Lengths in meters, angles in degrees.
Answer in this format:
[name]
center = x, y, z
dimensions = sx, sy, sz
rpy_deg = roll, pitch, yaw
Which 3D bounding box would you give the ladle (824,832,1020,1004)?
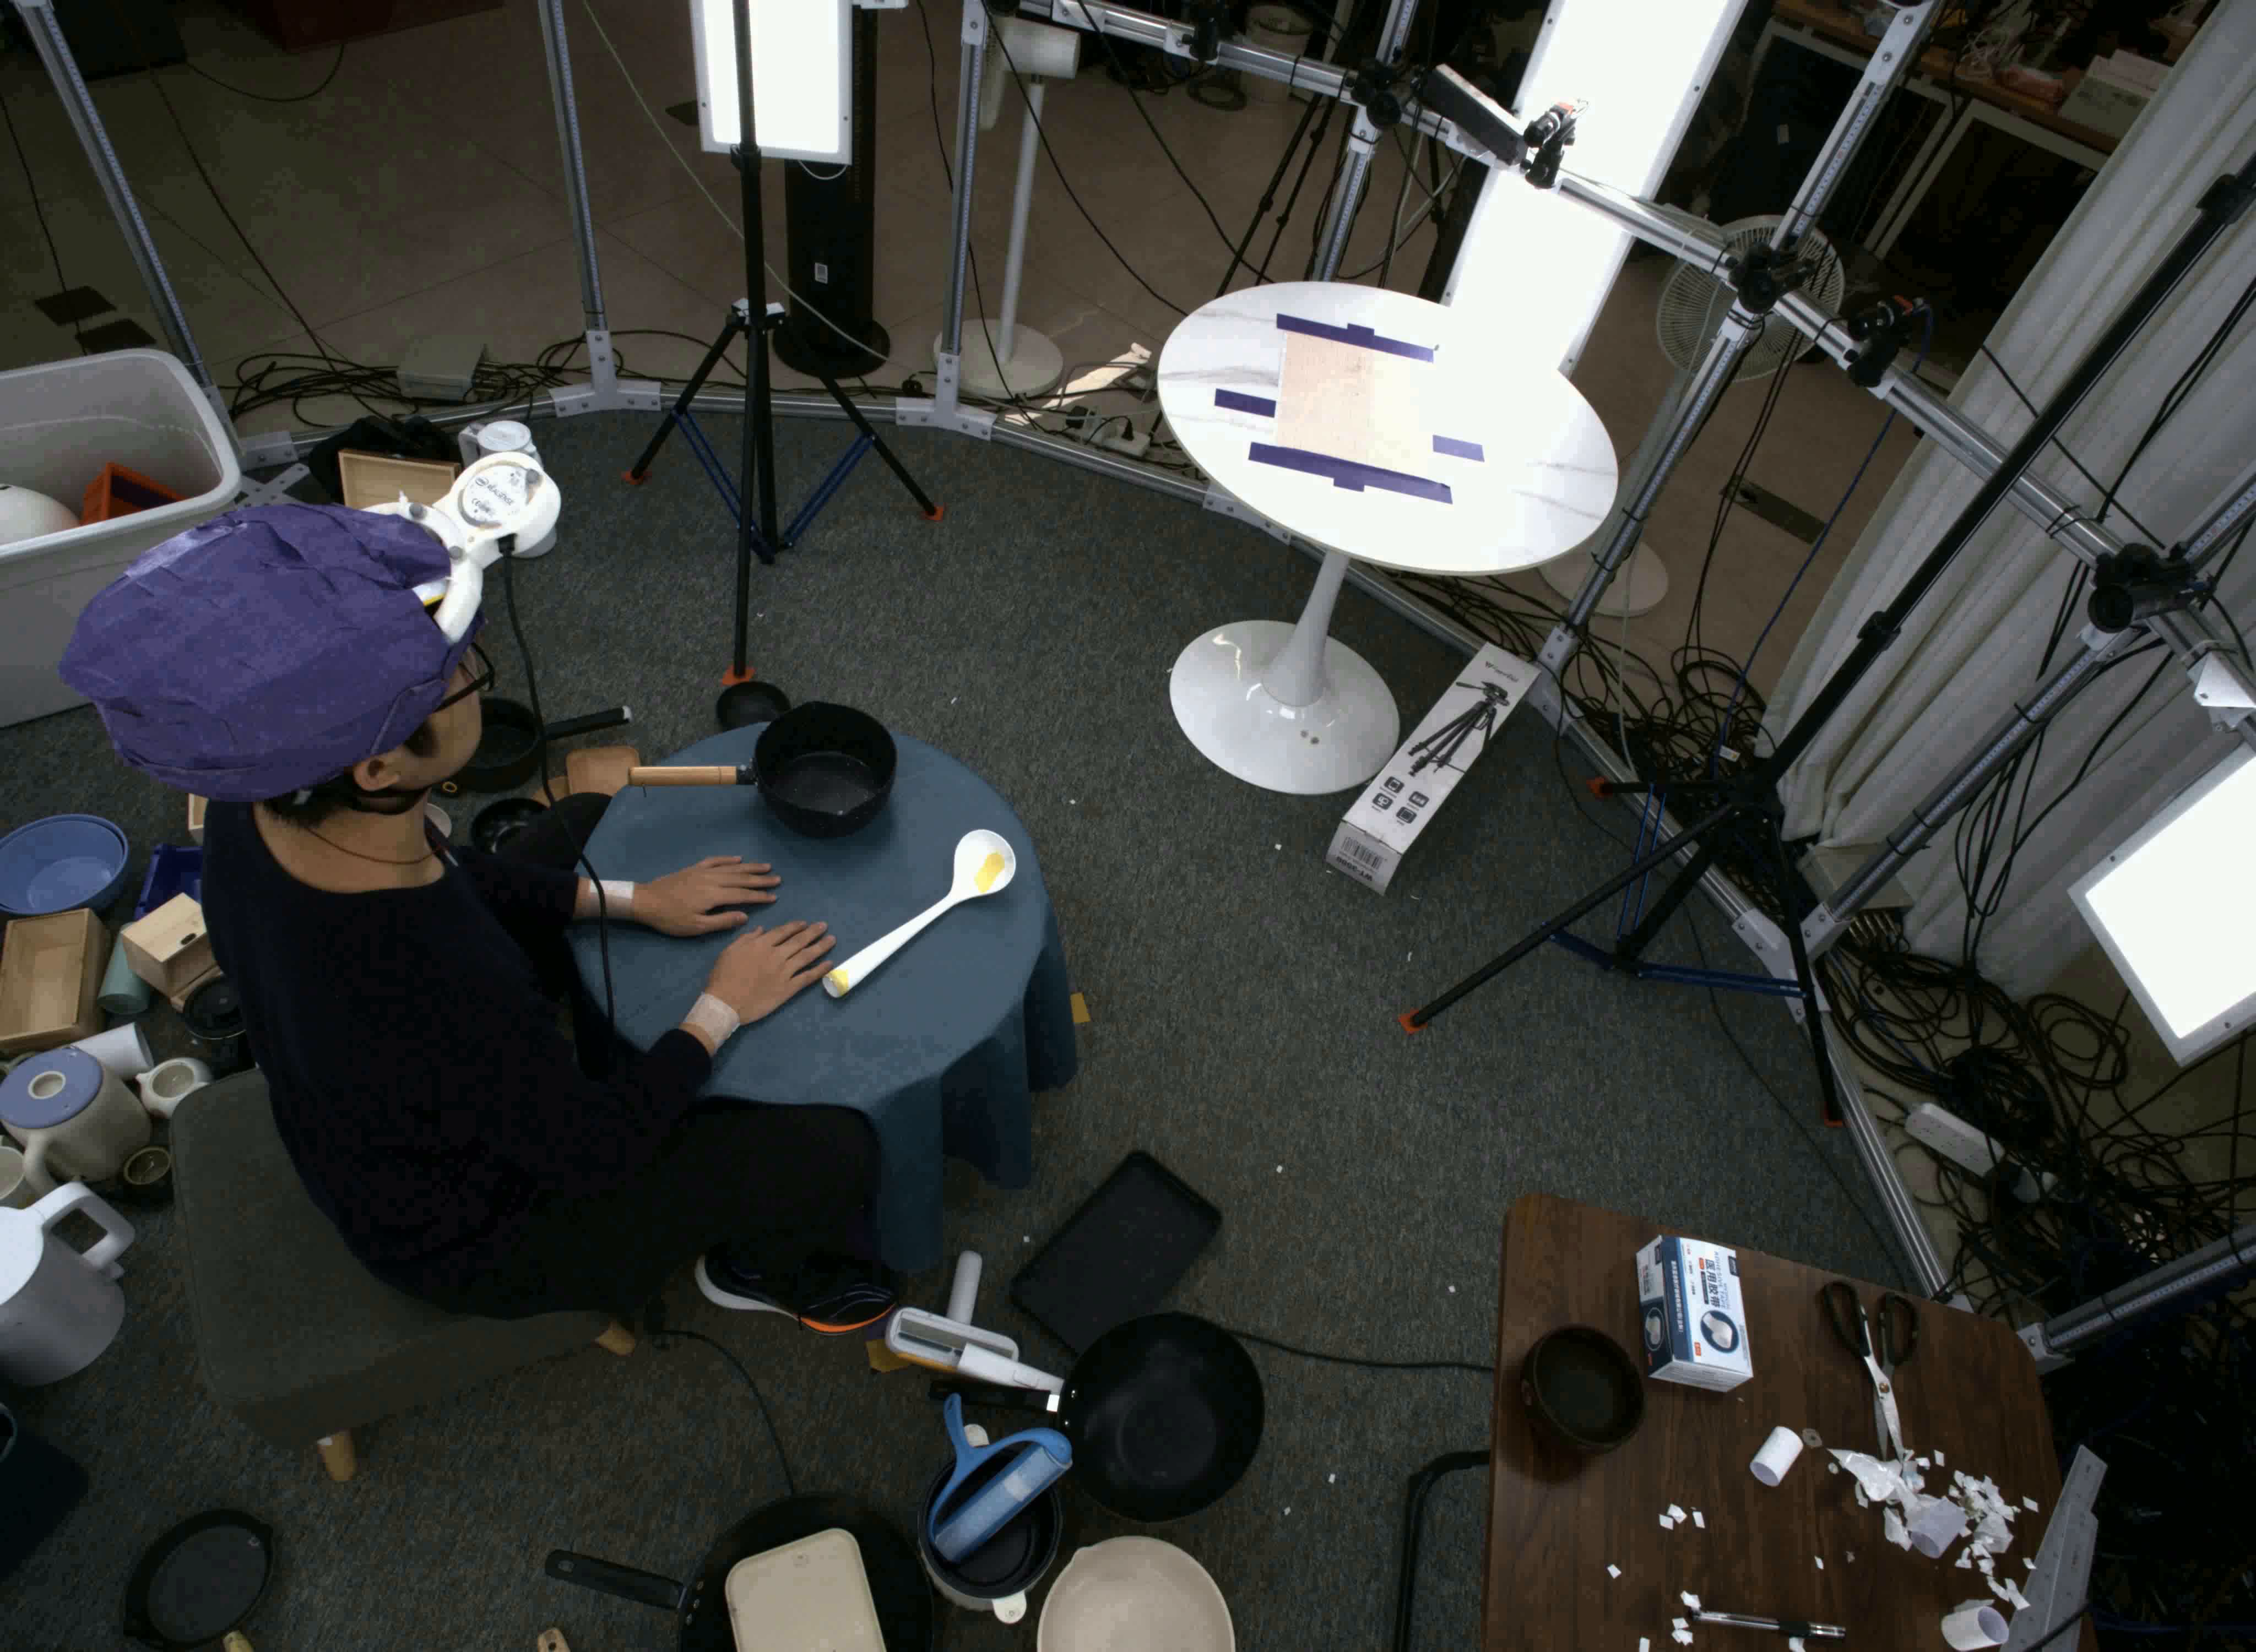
[ladle]
center = -0.258, 0.114, 1.632
dimensions = 0.089, 0.071, 0.293
rpy_deg = 44, 56, 12

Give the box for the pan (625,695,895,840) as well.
[pan]
center = -0.473, -0.062, 1.677
dimensions = 0.345, 0.110, 0.202
rpy_deg = -10, 58, -23
